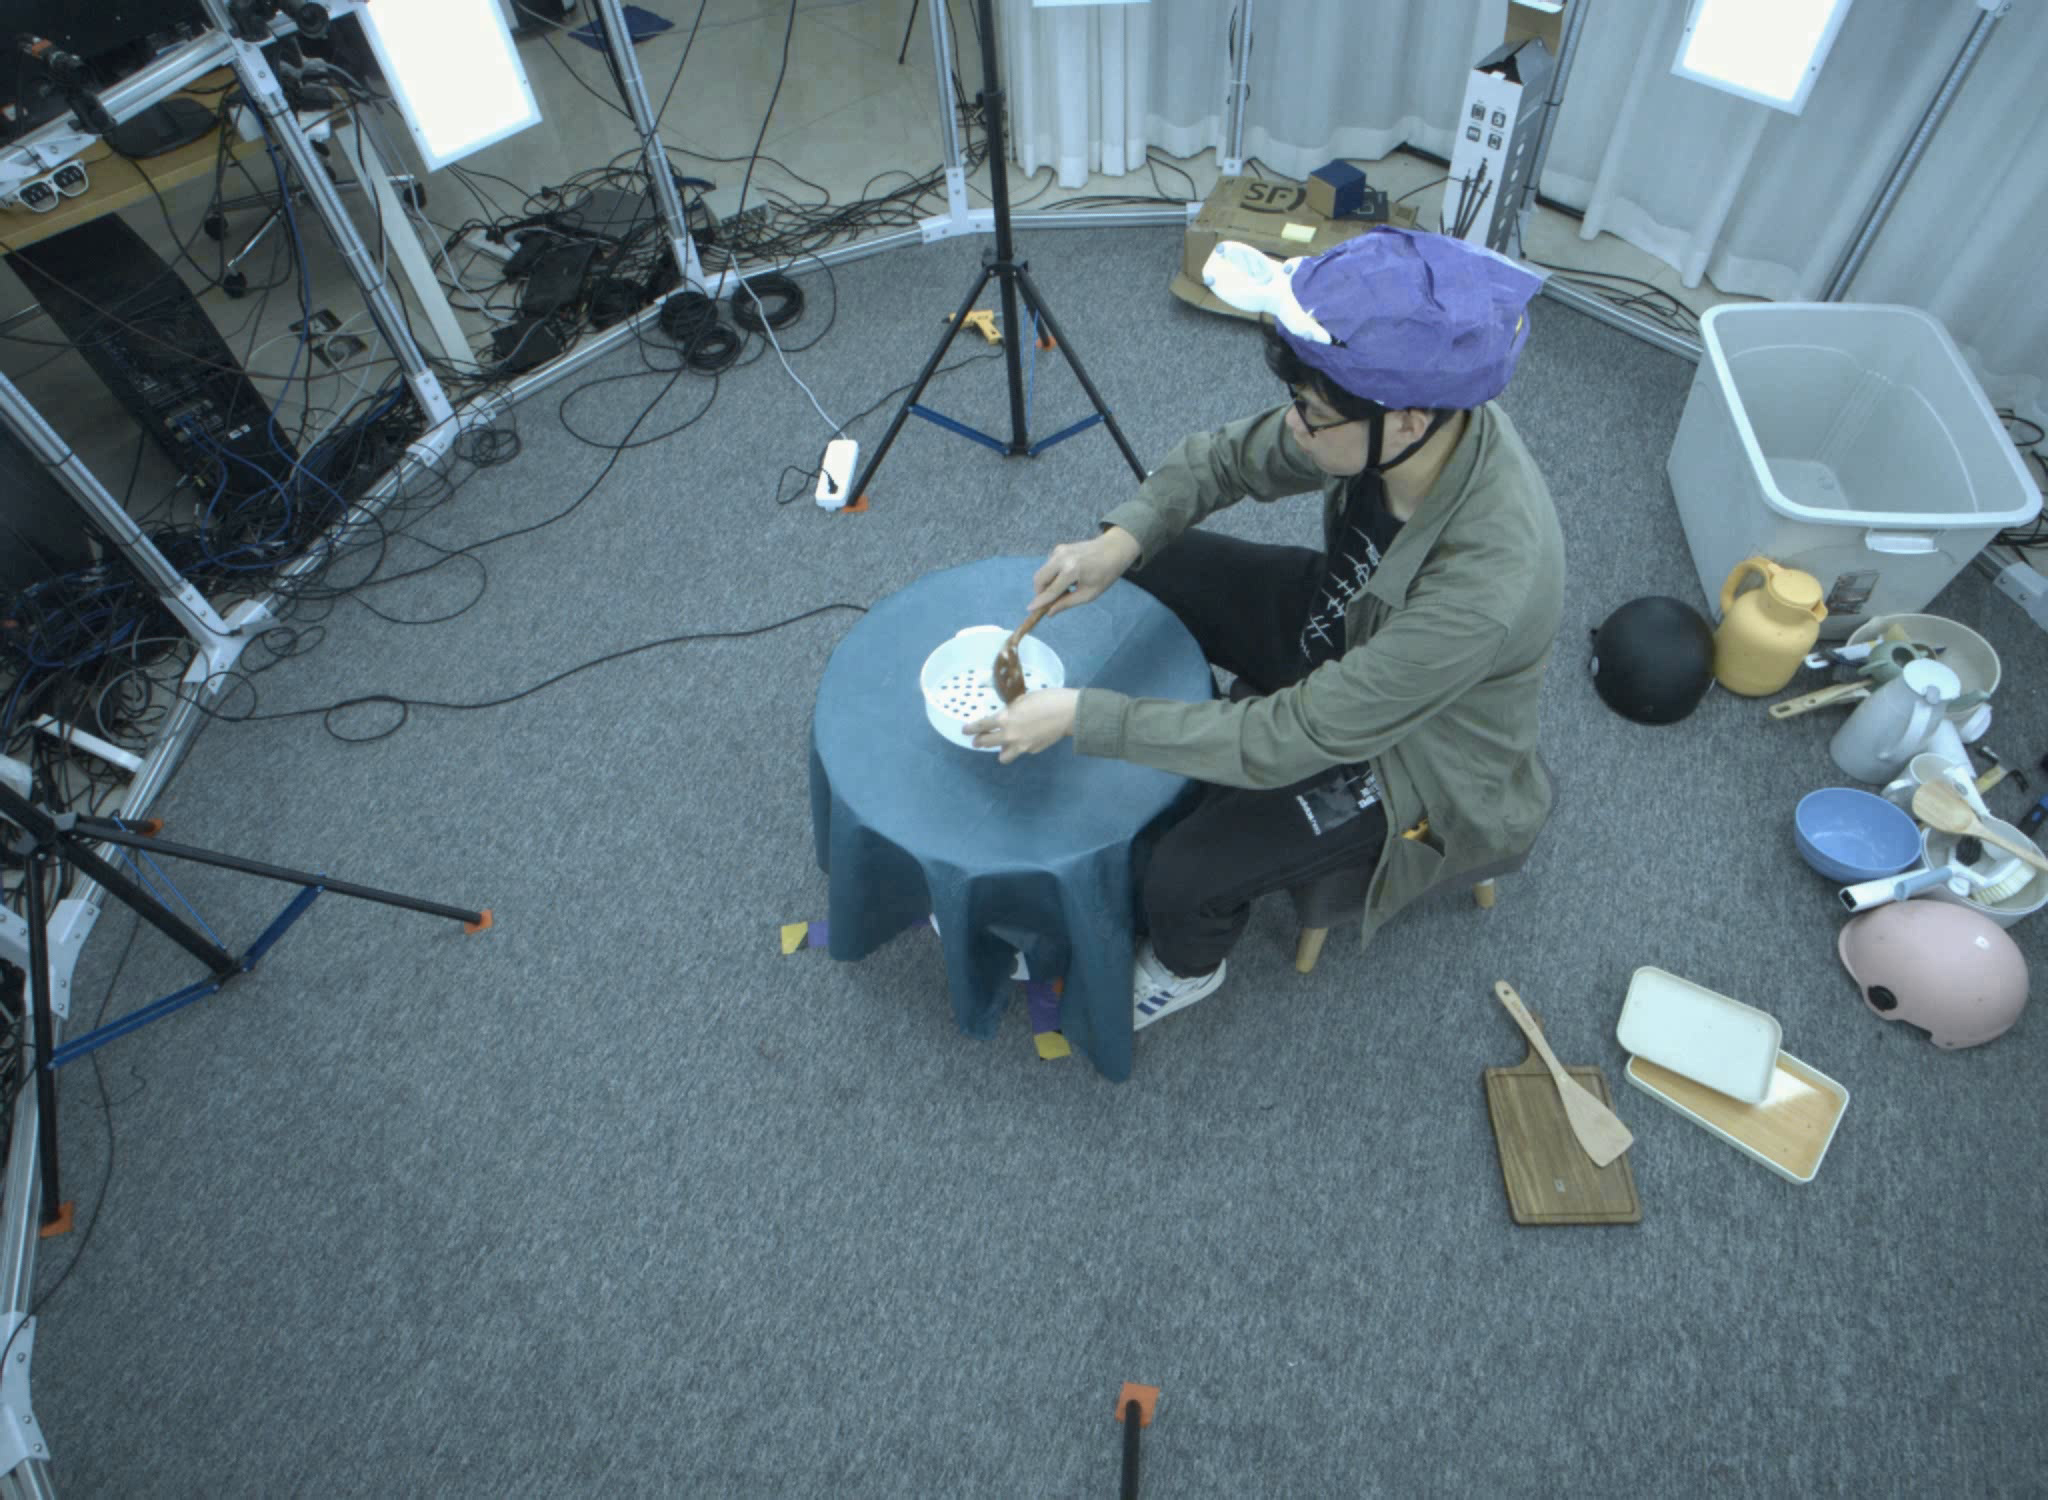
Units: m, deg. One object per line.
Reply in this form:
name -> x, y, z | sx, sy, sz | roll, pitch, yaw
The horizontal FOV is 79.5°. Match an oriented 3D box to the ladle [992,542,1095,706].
ladle -> 0.043, -0.179, 1.743 | 0.077, 0.081, 0.275 | 42, 70, -7

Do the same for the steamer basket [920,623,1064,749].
steamer basket -> -0.045, -0.087, 1.744 | 0.203, 0.070, 0.226 | -9, 46, -10
